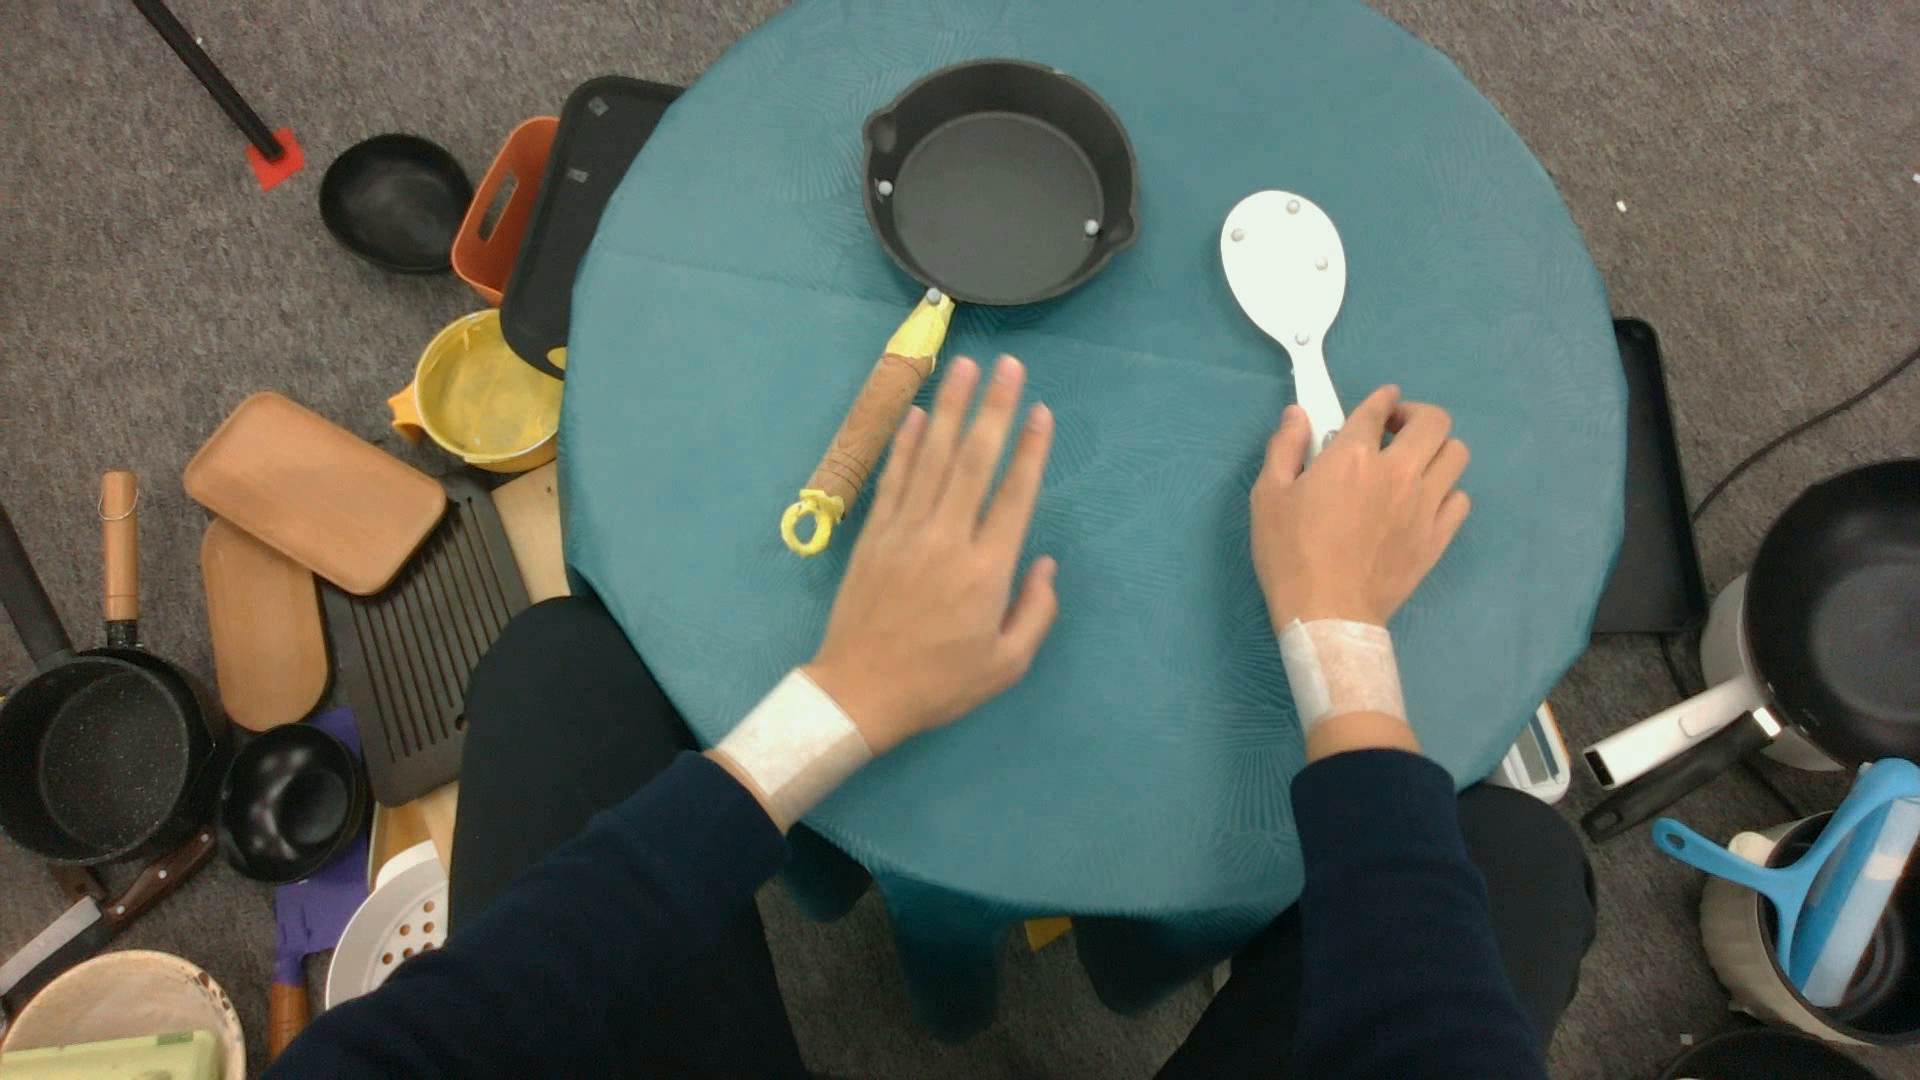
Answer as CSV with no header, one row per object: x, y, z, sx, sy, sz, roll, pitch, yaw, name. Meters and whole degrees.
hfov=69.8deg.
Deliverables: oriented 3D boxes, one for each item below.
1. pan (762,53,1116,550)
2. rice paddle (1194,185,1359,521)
-0.027,-0.133,0.761,0.169,0.049,0.325,25,72,6,pan
0.180,-0.112,0.771,0.069,0.029,0.205,-9,73,-7,rice paddle
